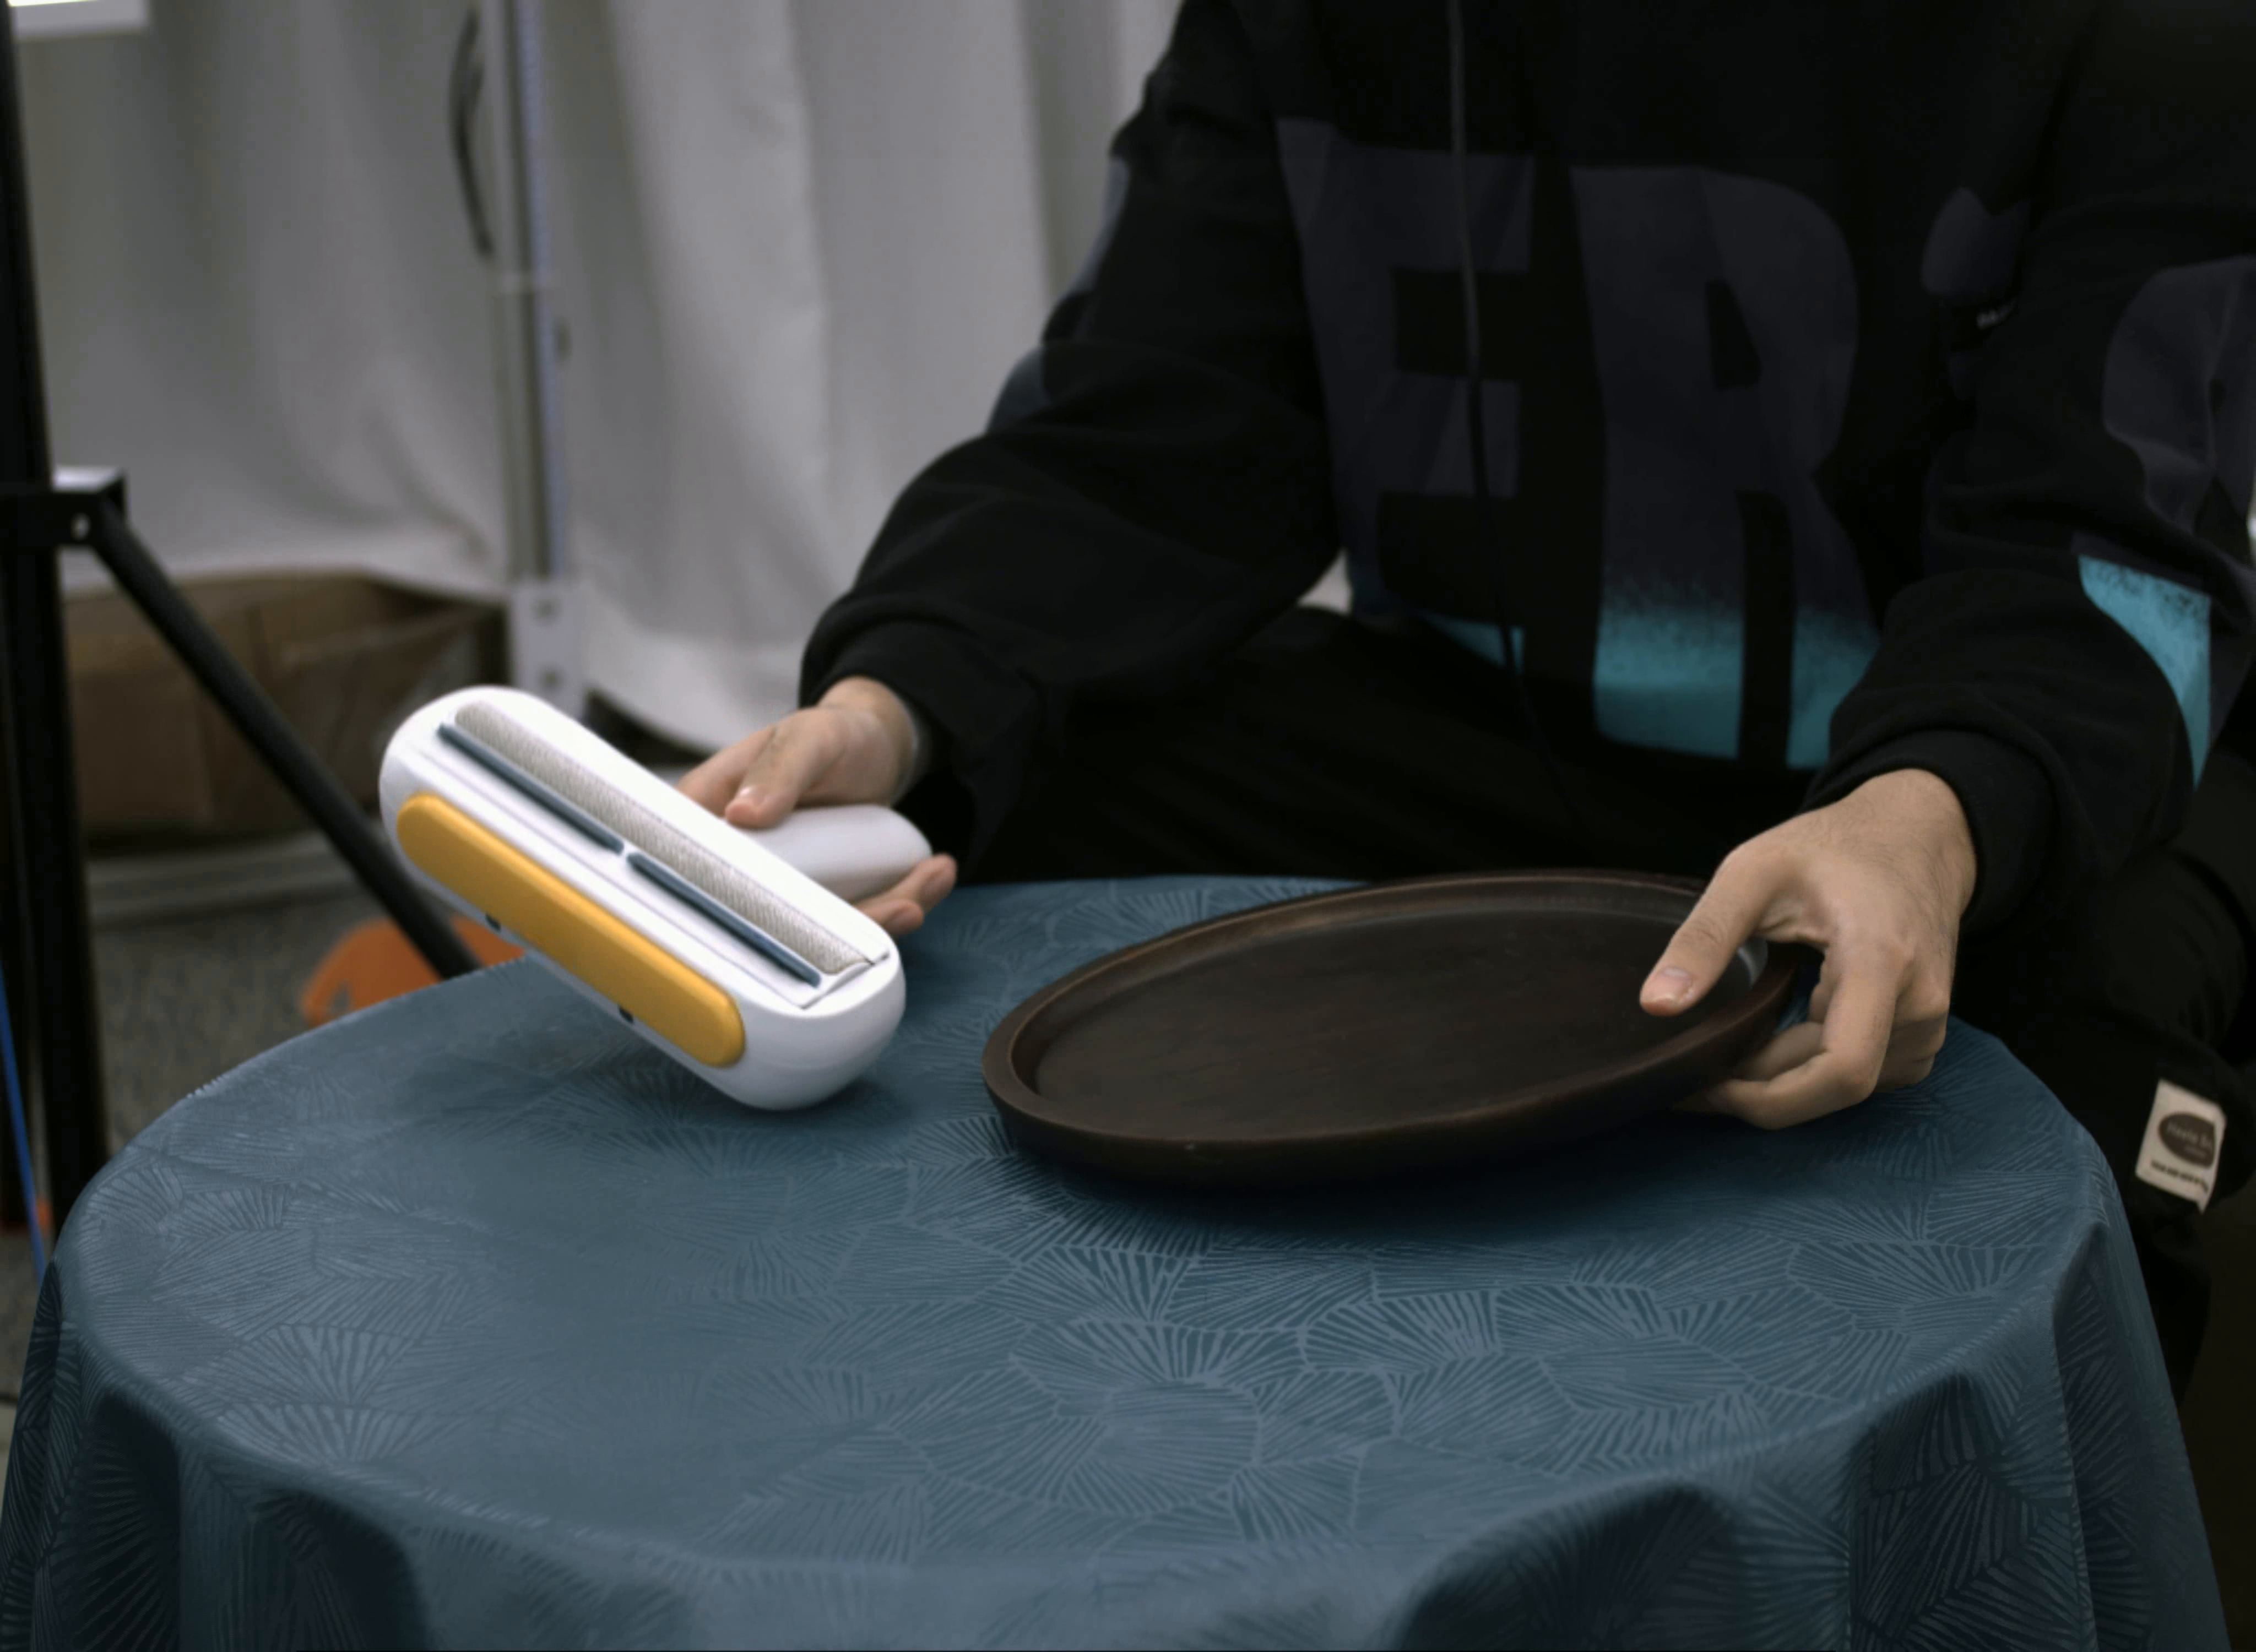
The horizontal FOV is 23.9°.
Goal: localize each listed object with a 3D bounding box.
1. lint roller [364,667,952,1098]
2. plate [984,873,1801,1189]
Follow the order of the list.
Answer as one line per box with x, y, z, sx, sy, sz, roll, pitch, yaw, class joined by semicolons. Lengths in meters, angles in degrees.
-0.126;0.010;1.729;0.197;0.074;0.188;32;31;31;lint roller
0.081;0.061;1.619;0.254;0.029;0.256;-9;13;1;plate
